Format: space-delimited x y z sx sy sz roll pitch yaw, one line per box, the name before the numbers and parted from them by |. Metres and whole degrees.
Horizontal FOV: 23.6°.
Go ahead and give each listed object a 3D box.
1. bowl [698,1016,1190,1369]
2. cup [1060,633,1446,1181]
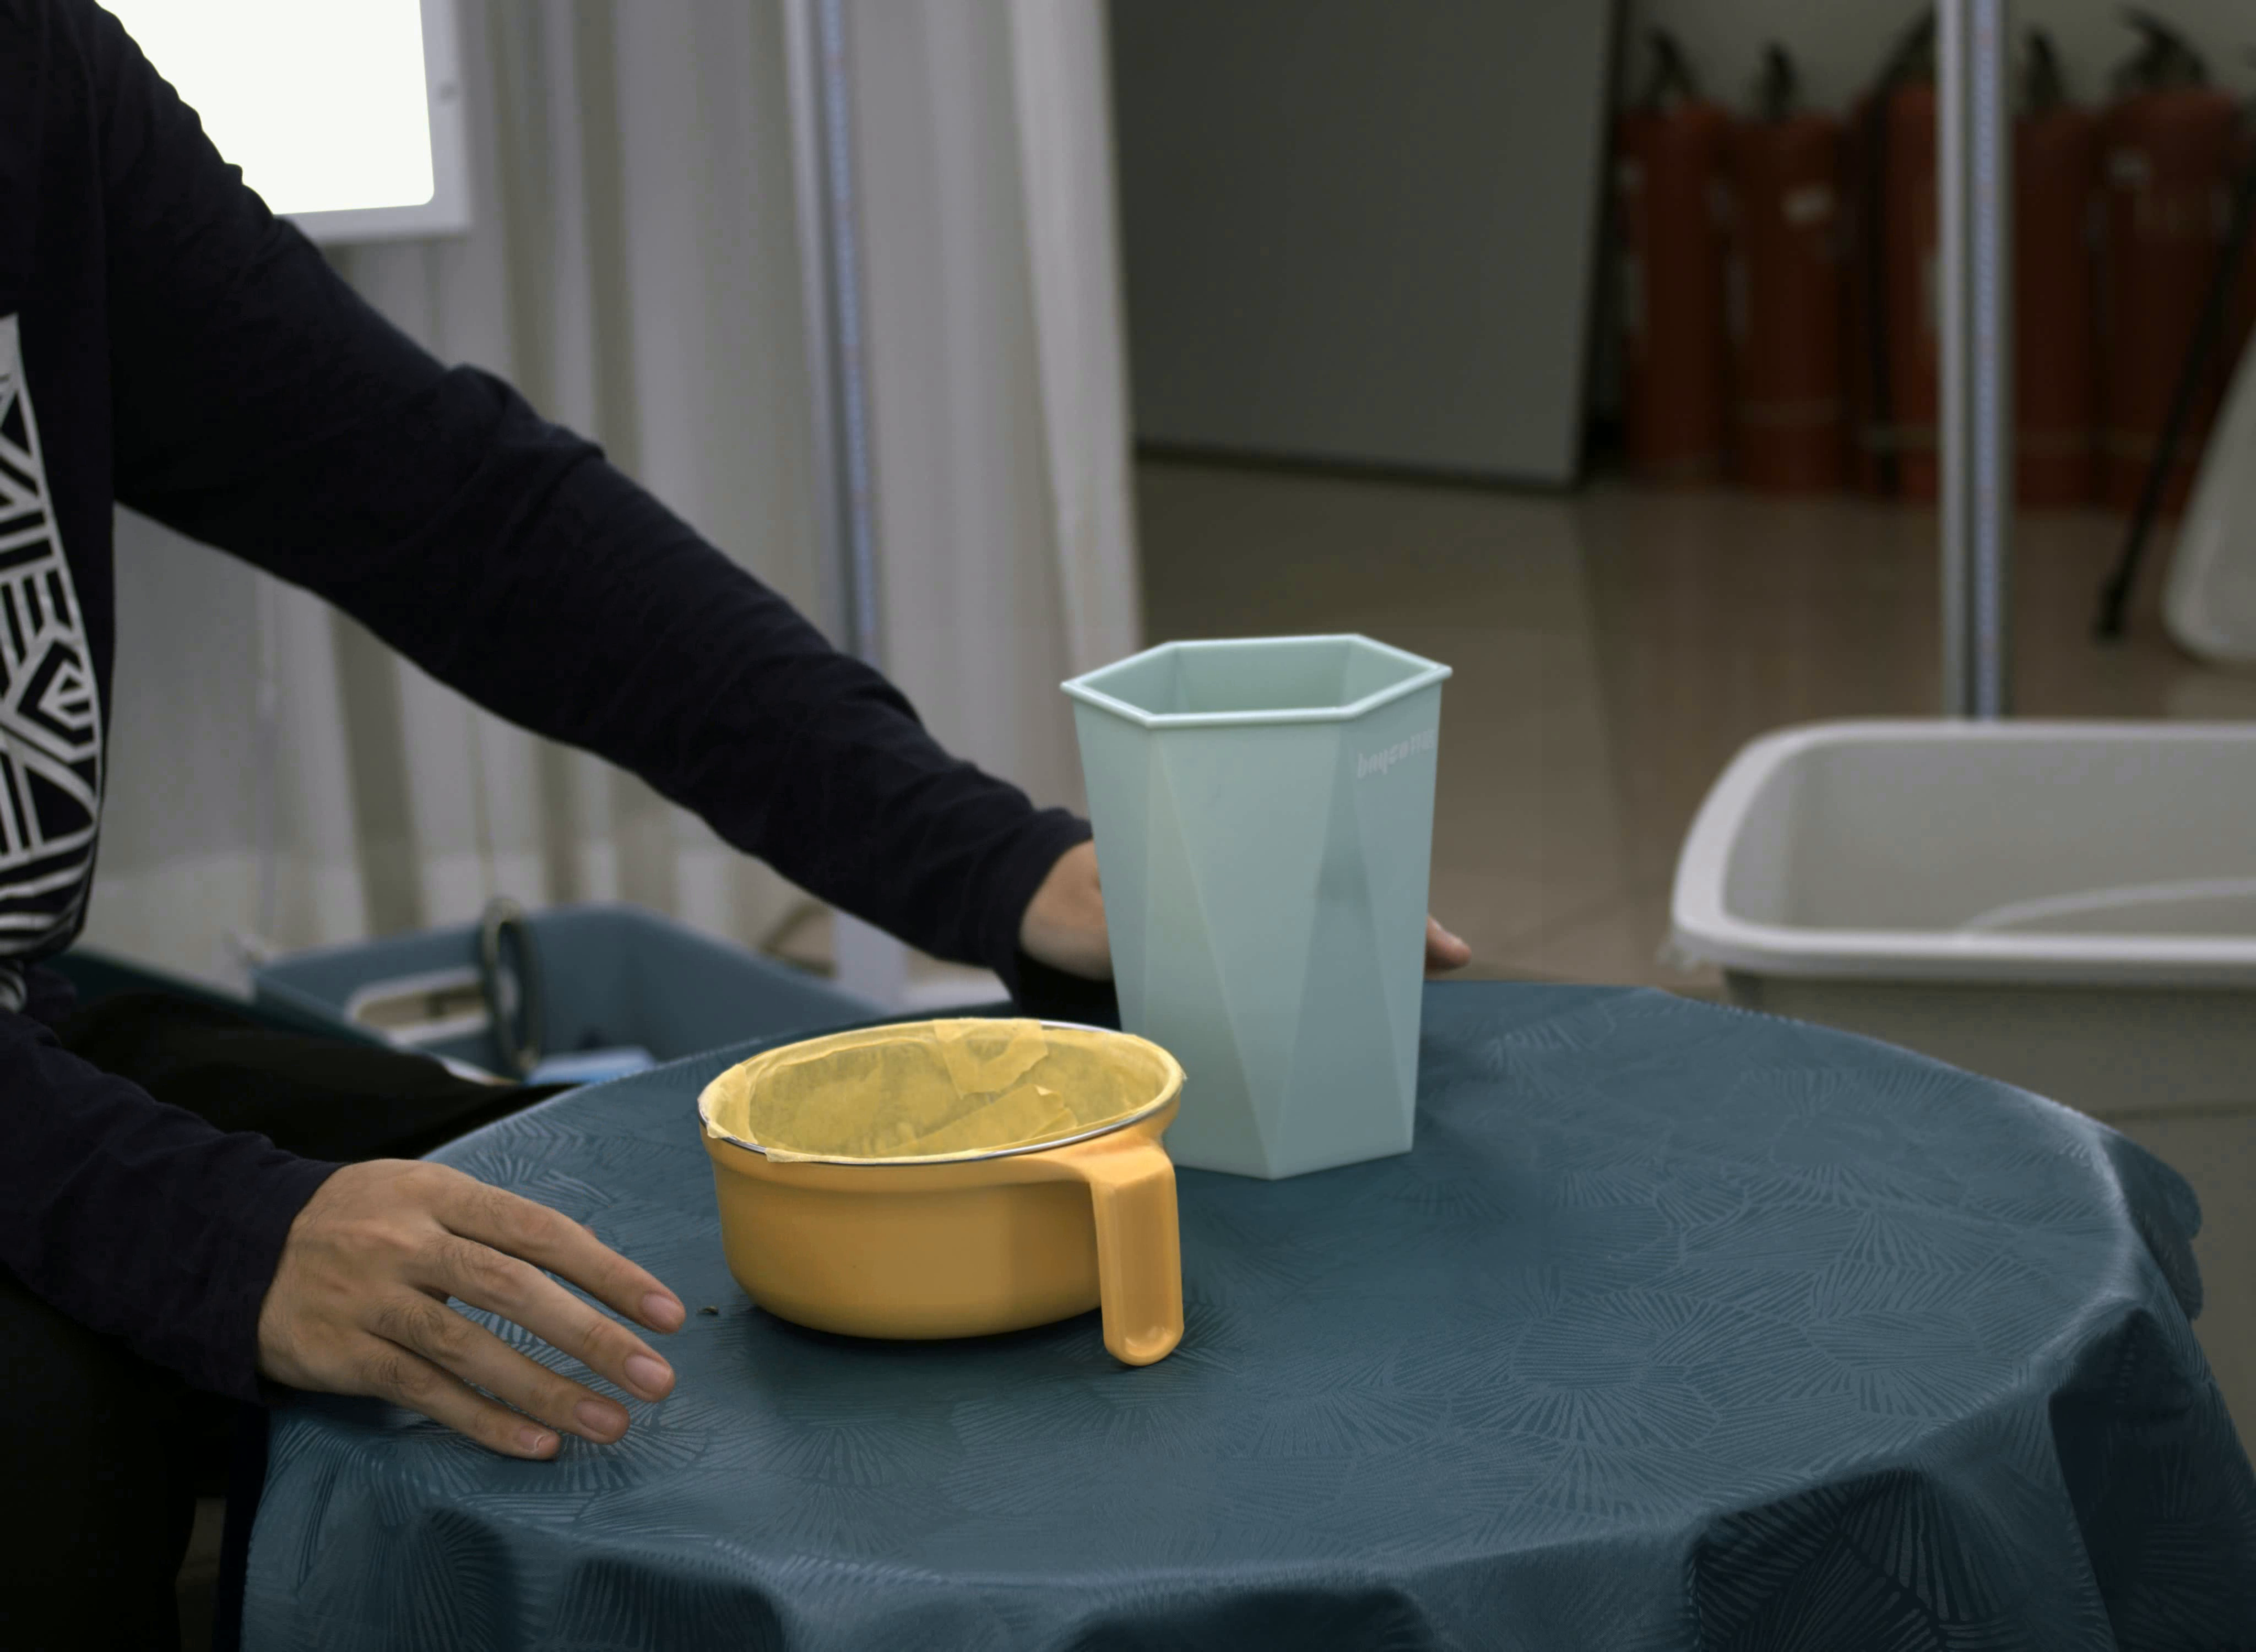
bowl | -0.048 0.116 1.671 0.150 0.075 0.181 -15 15 -38
cup | 0.048 0.027 1.804 0.116 0.165 0.129 2 13 32
